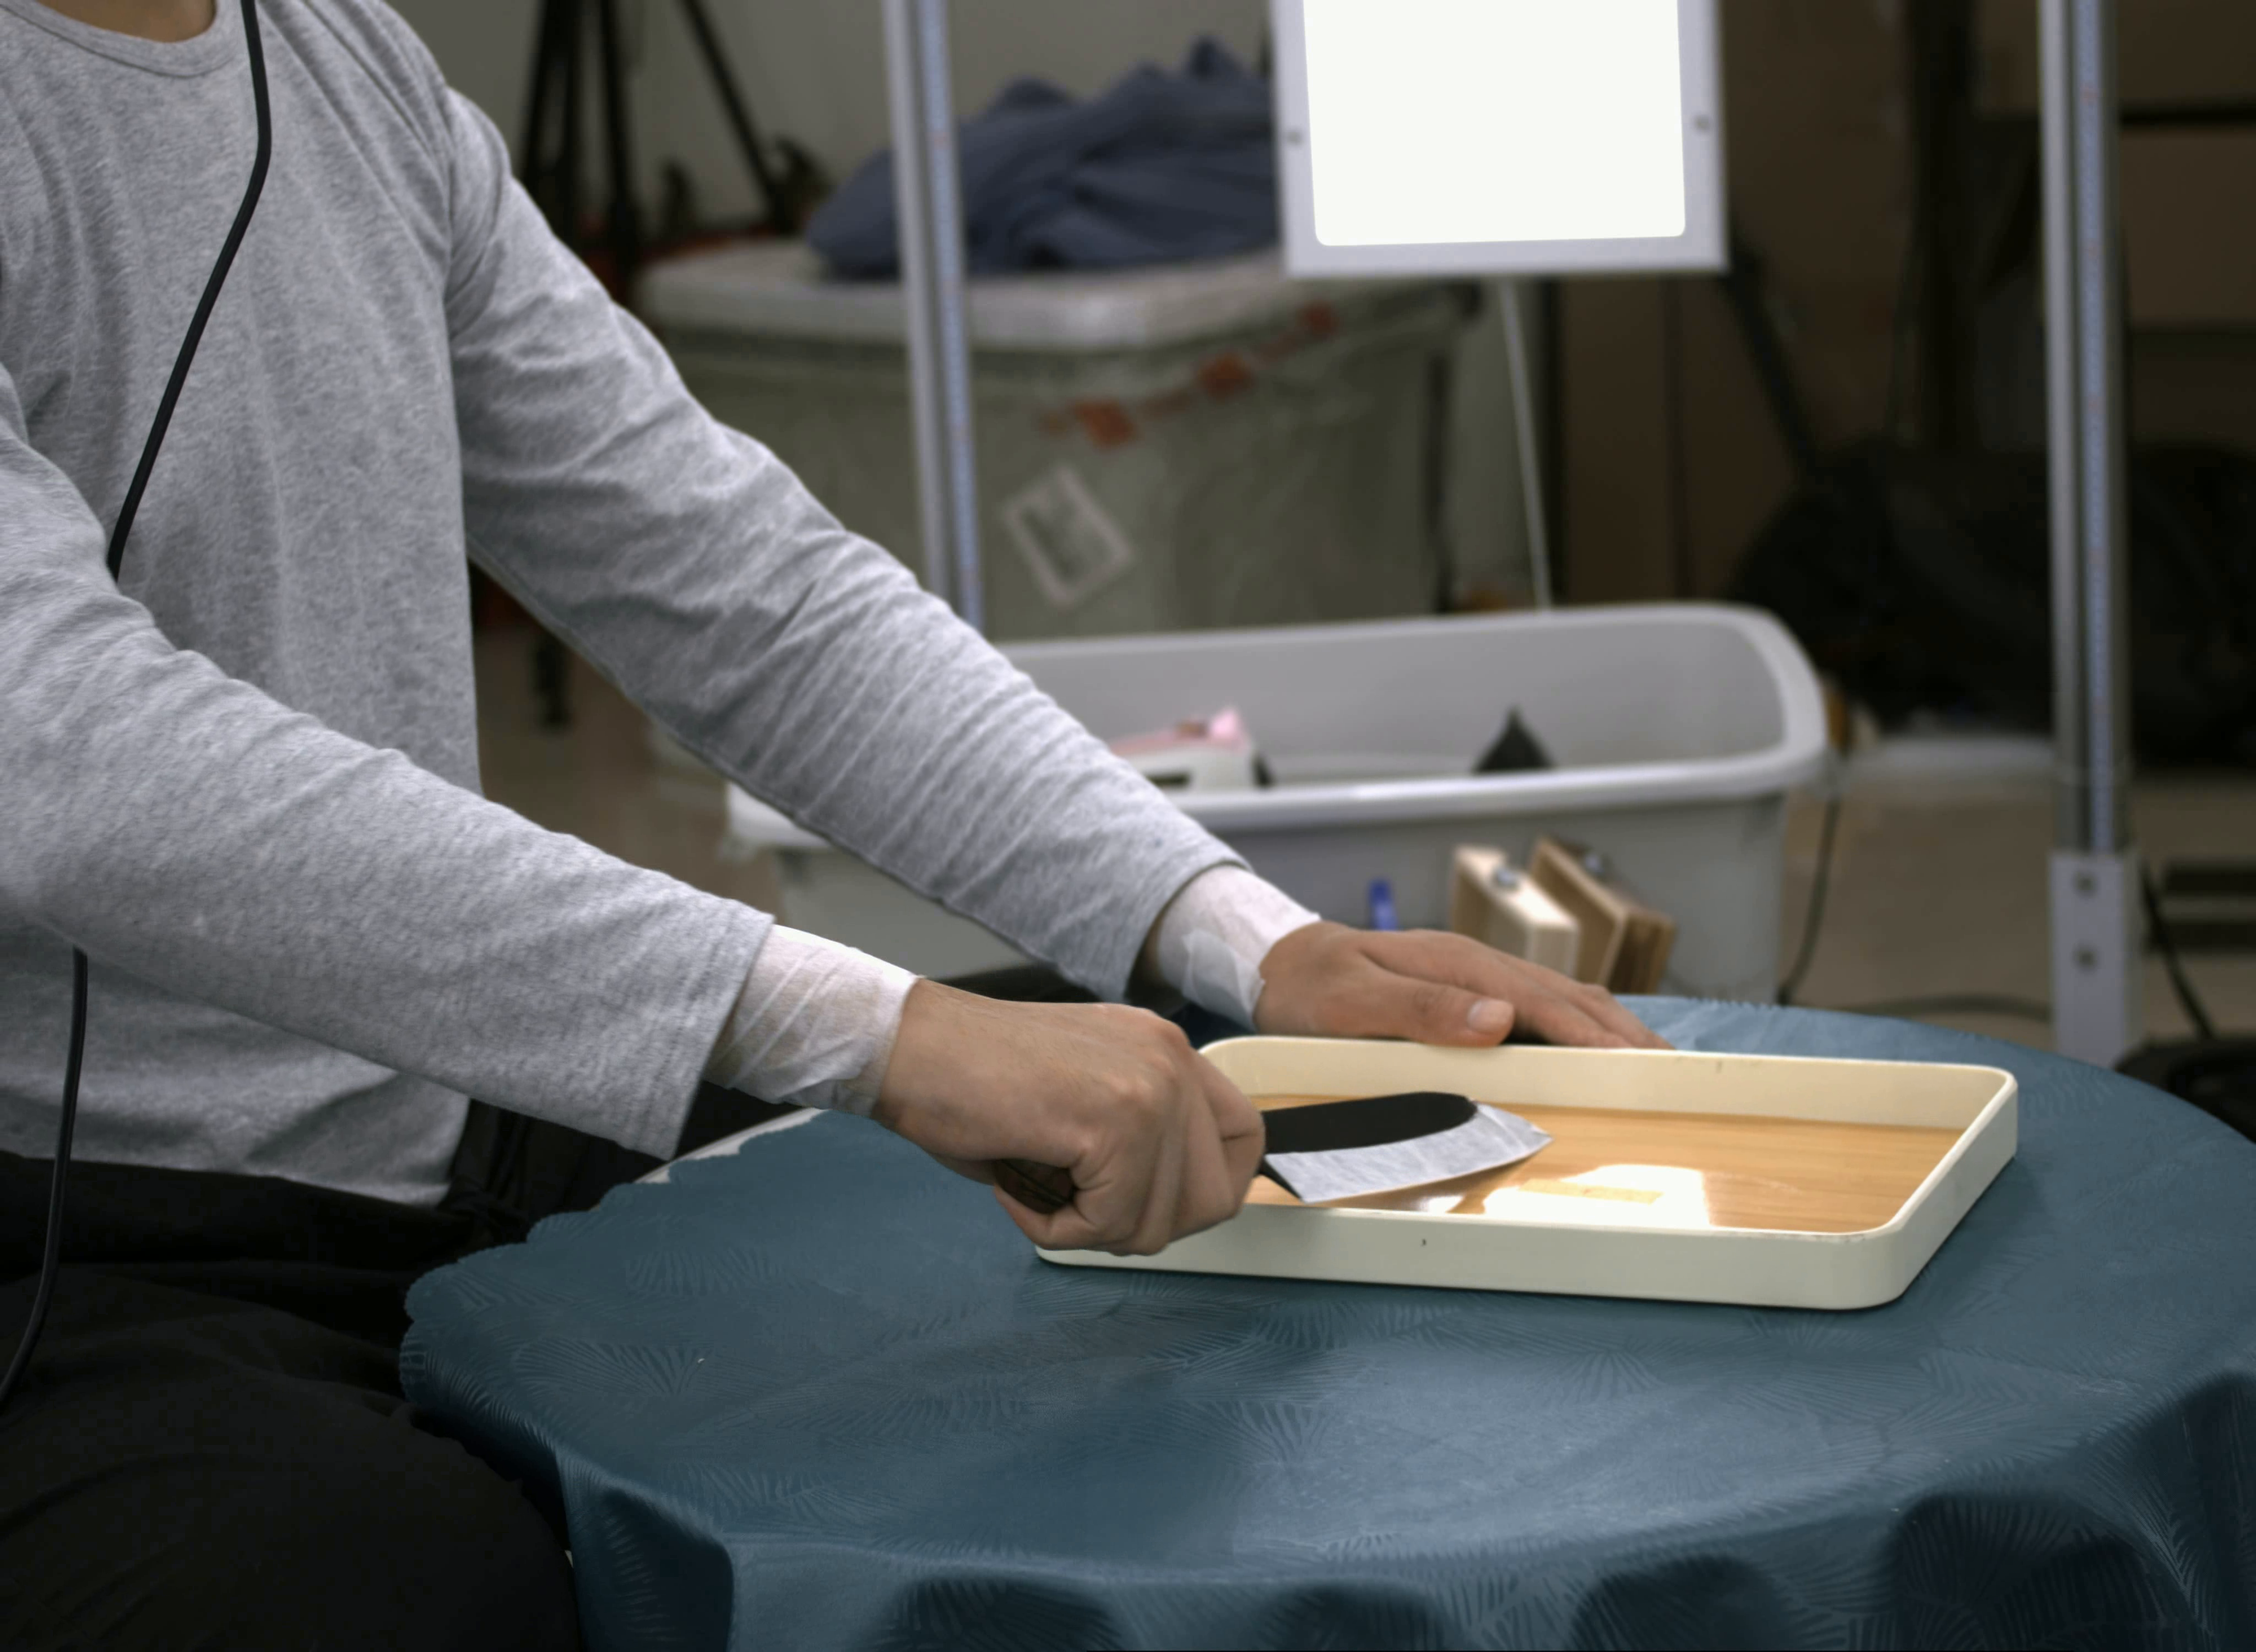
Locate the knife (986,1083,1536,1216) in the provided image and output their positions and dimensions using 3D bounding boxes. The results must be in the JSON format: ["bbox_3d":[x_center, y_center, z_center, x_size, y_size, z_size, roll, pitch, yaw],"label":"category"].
[{"bbox_3d":[0.051,0.106,1.796,0.282,0.020,0.051,-1,40,-51],"label":"knife"}]

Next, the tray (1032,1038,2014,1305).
[{"bbox_3d":[0.136,0.114,1.849,0.305,0.027,0.188,1,15,25],"label":"tray"}]
